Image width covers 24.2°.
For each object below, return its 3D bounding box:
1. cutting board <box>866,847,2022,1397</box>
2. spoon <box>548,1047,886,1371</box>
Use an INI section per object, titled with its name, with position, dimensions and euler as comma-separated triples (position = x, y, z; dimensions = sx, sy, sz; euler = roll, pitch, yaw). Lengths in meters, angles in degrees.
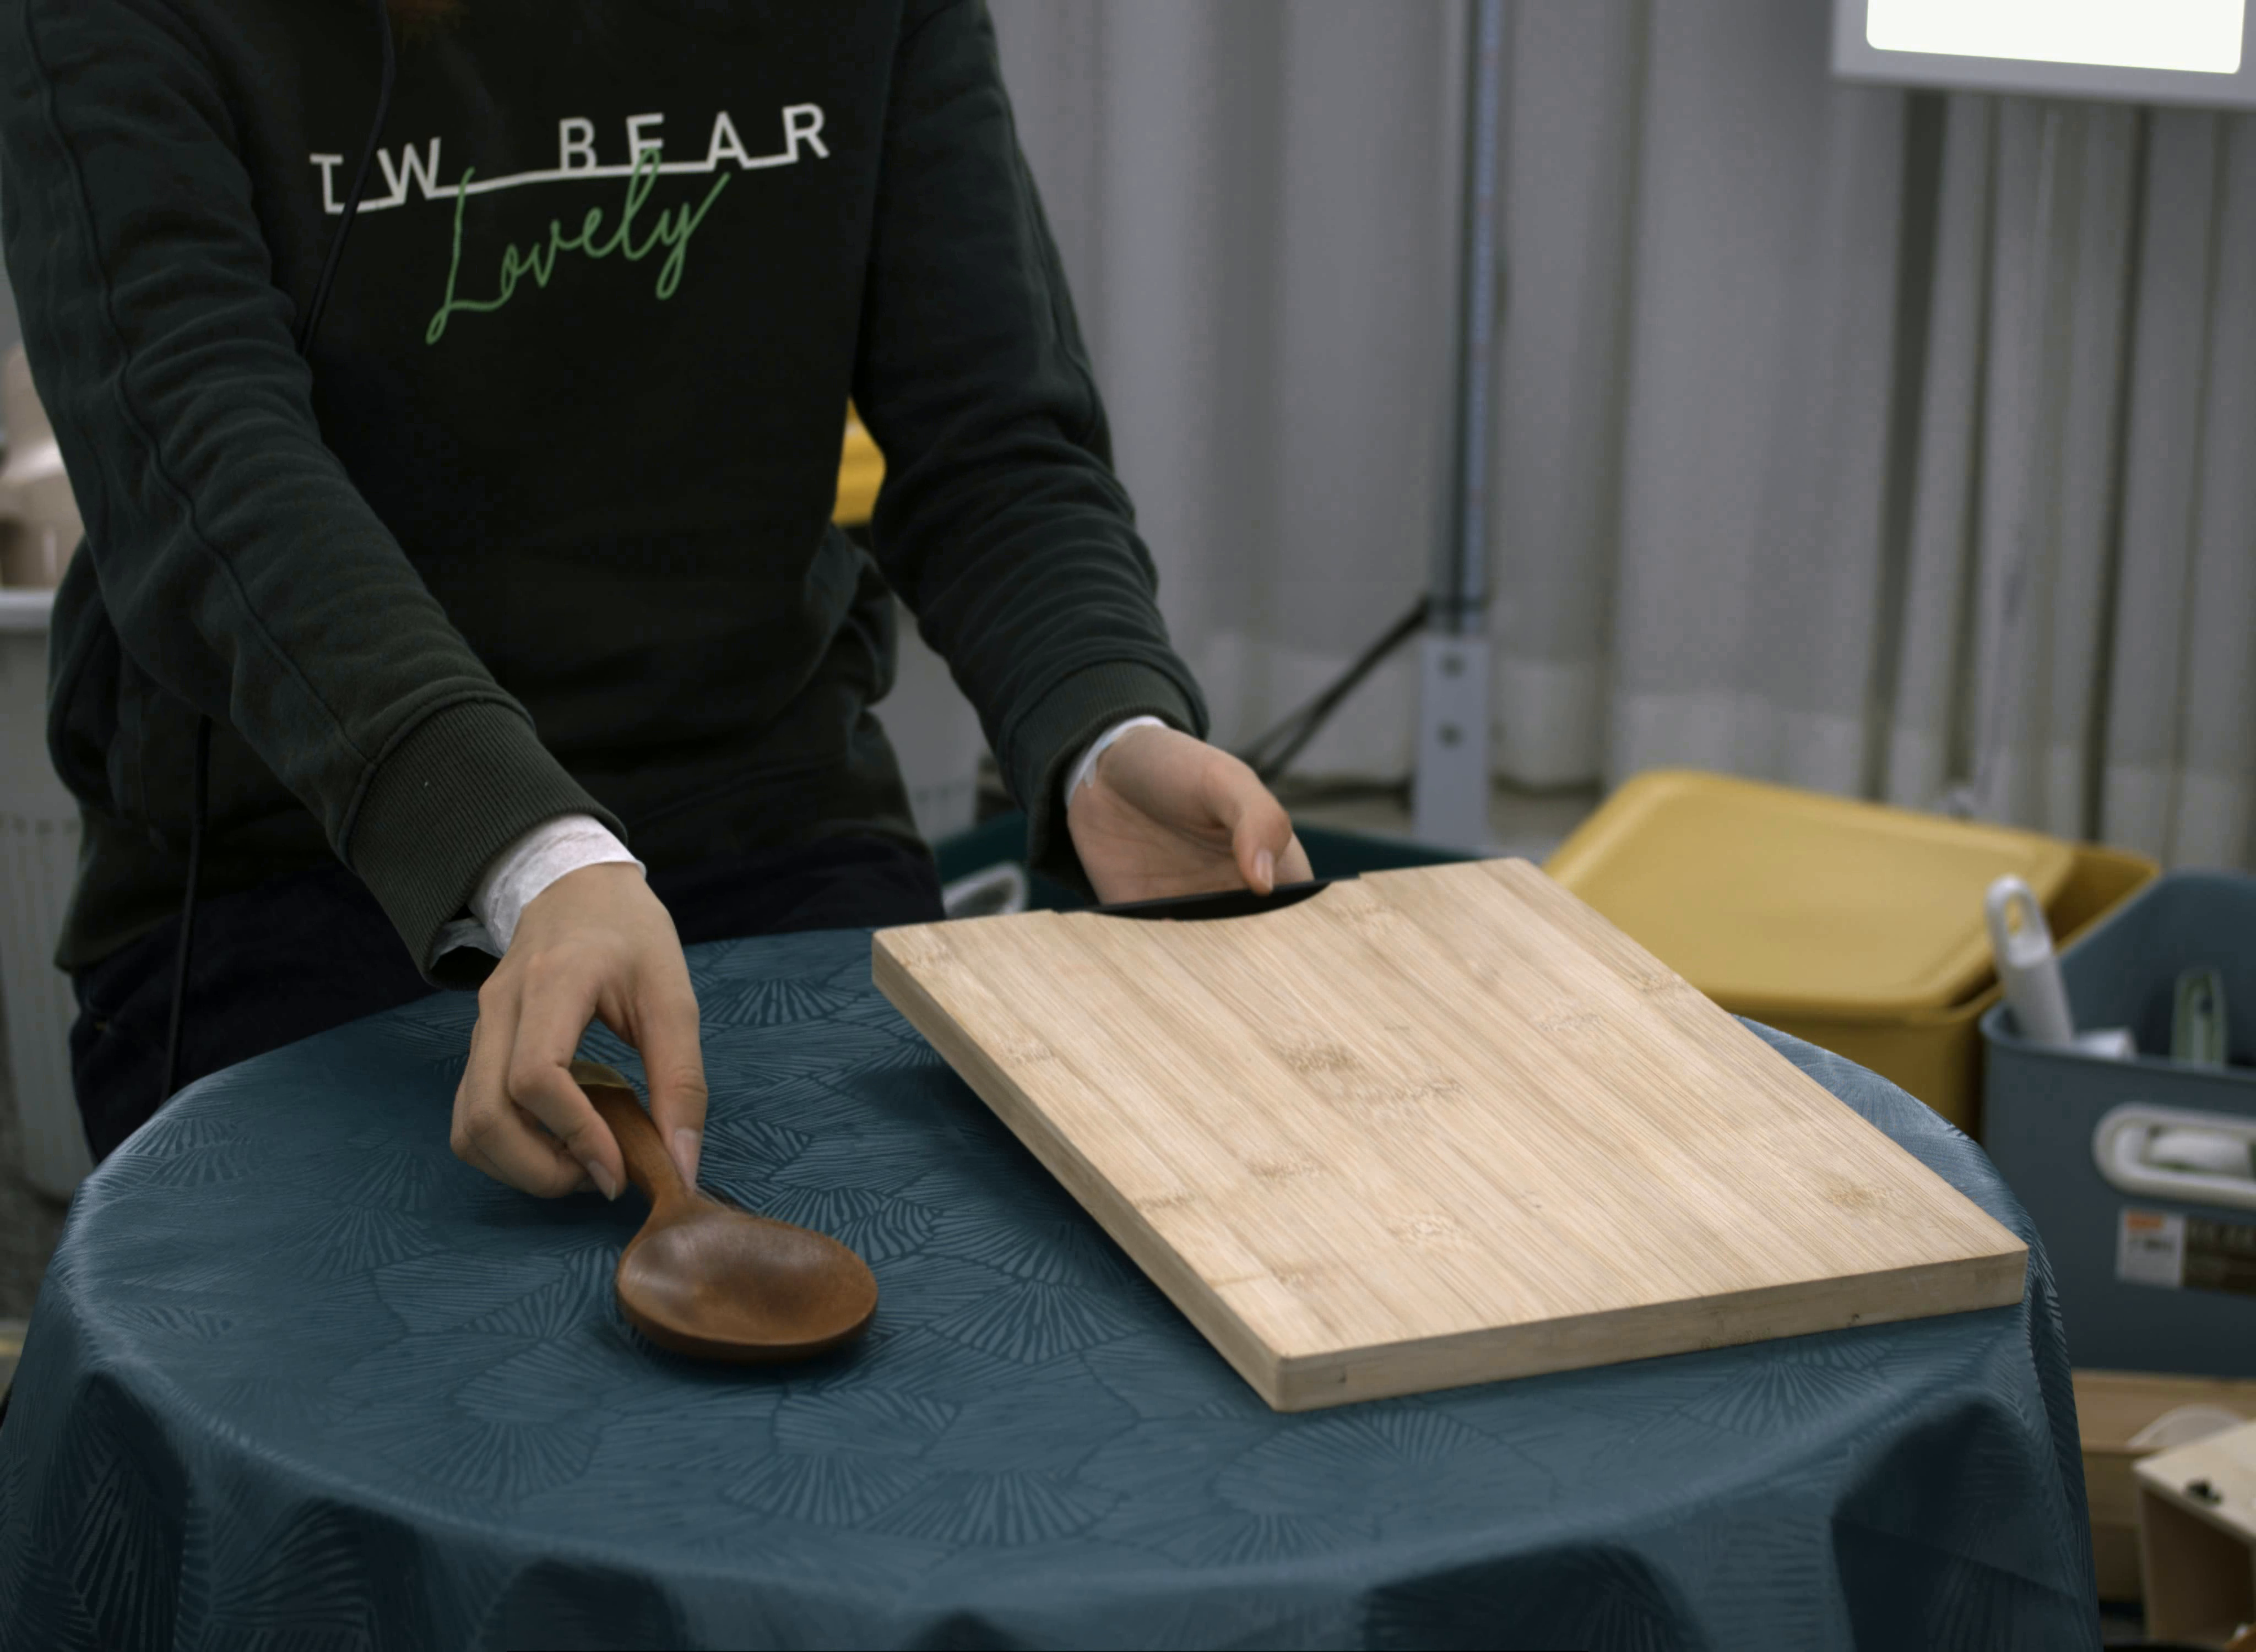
[cutting board]
position = 0.087, 0.085, 1.642
dimensions = 0.251, 0.024, 0.344
euler = -6, 22, -23
[spoon]
position = -0.132, 0.113, 1.558
dimensions = 0.075, 0.017, 0.213
euler = -7, 24, -21
